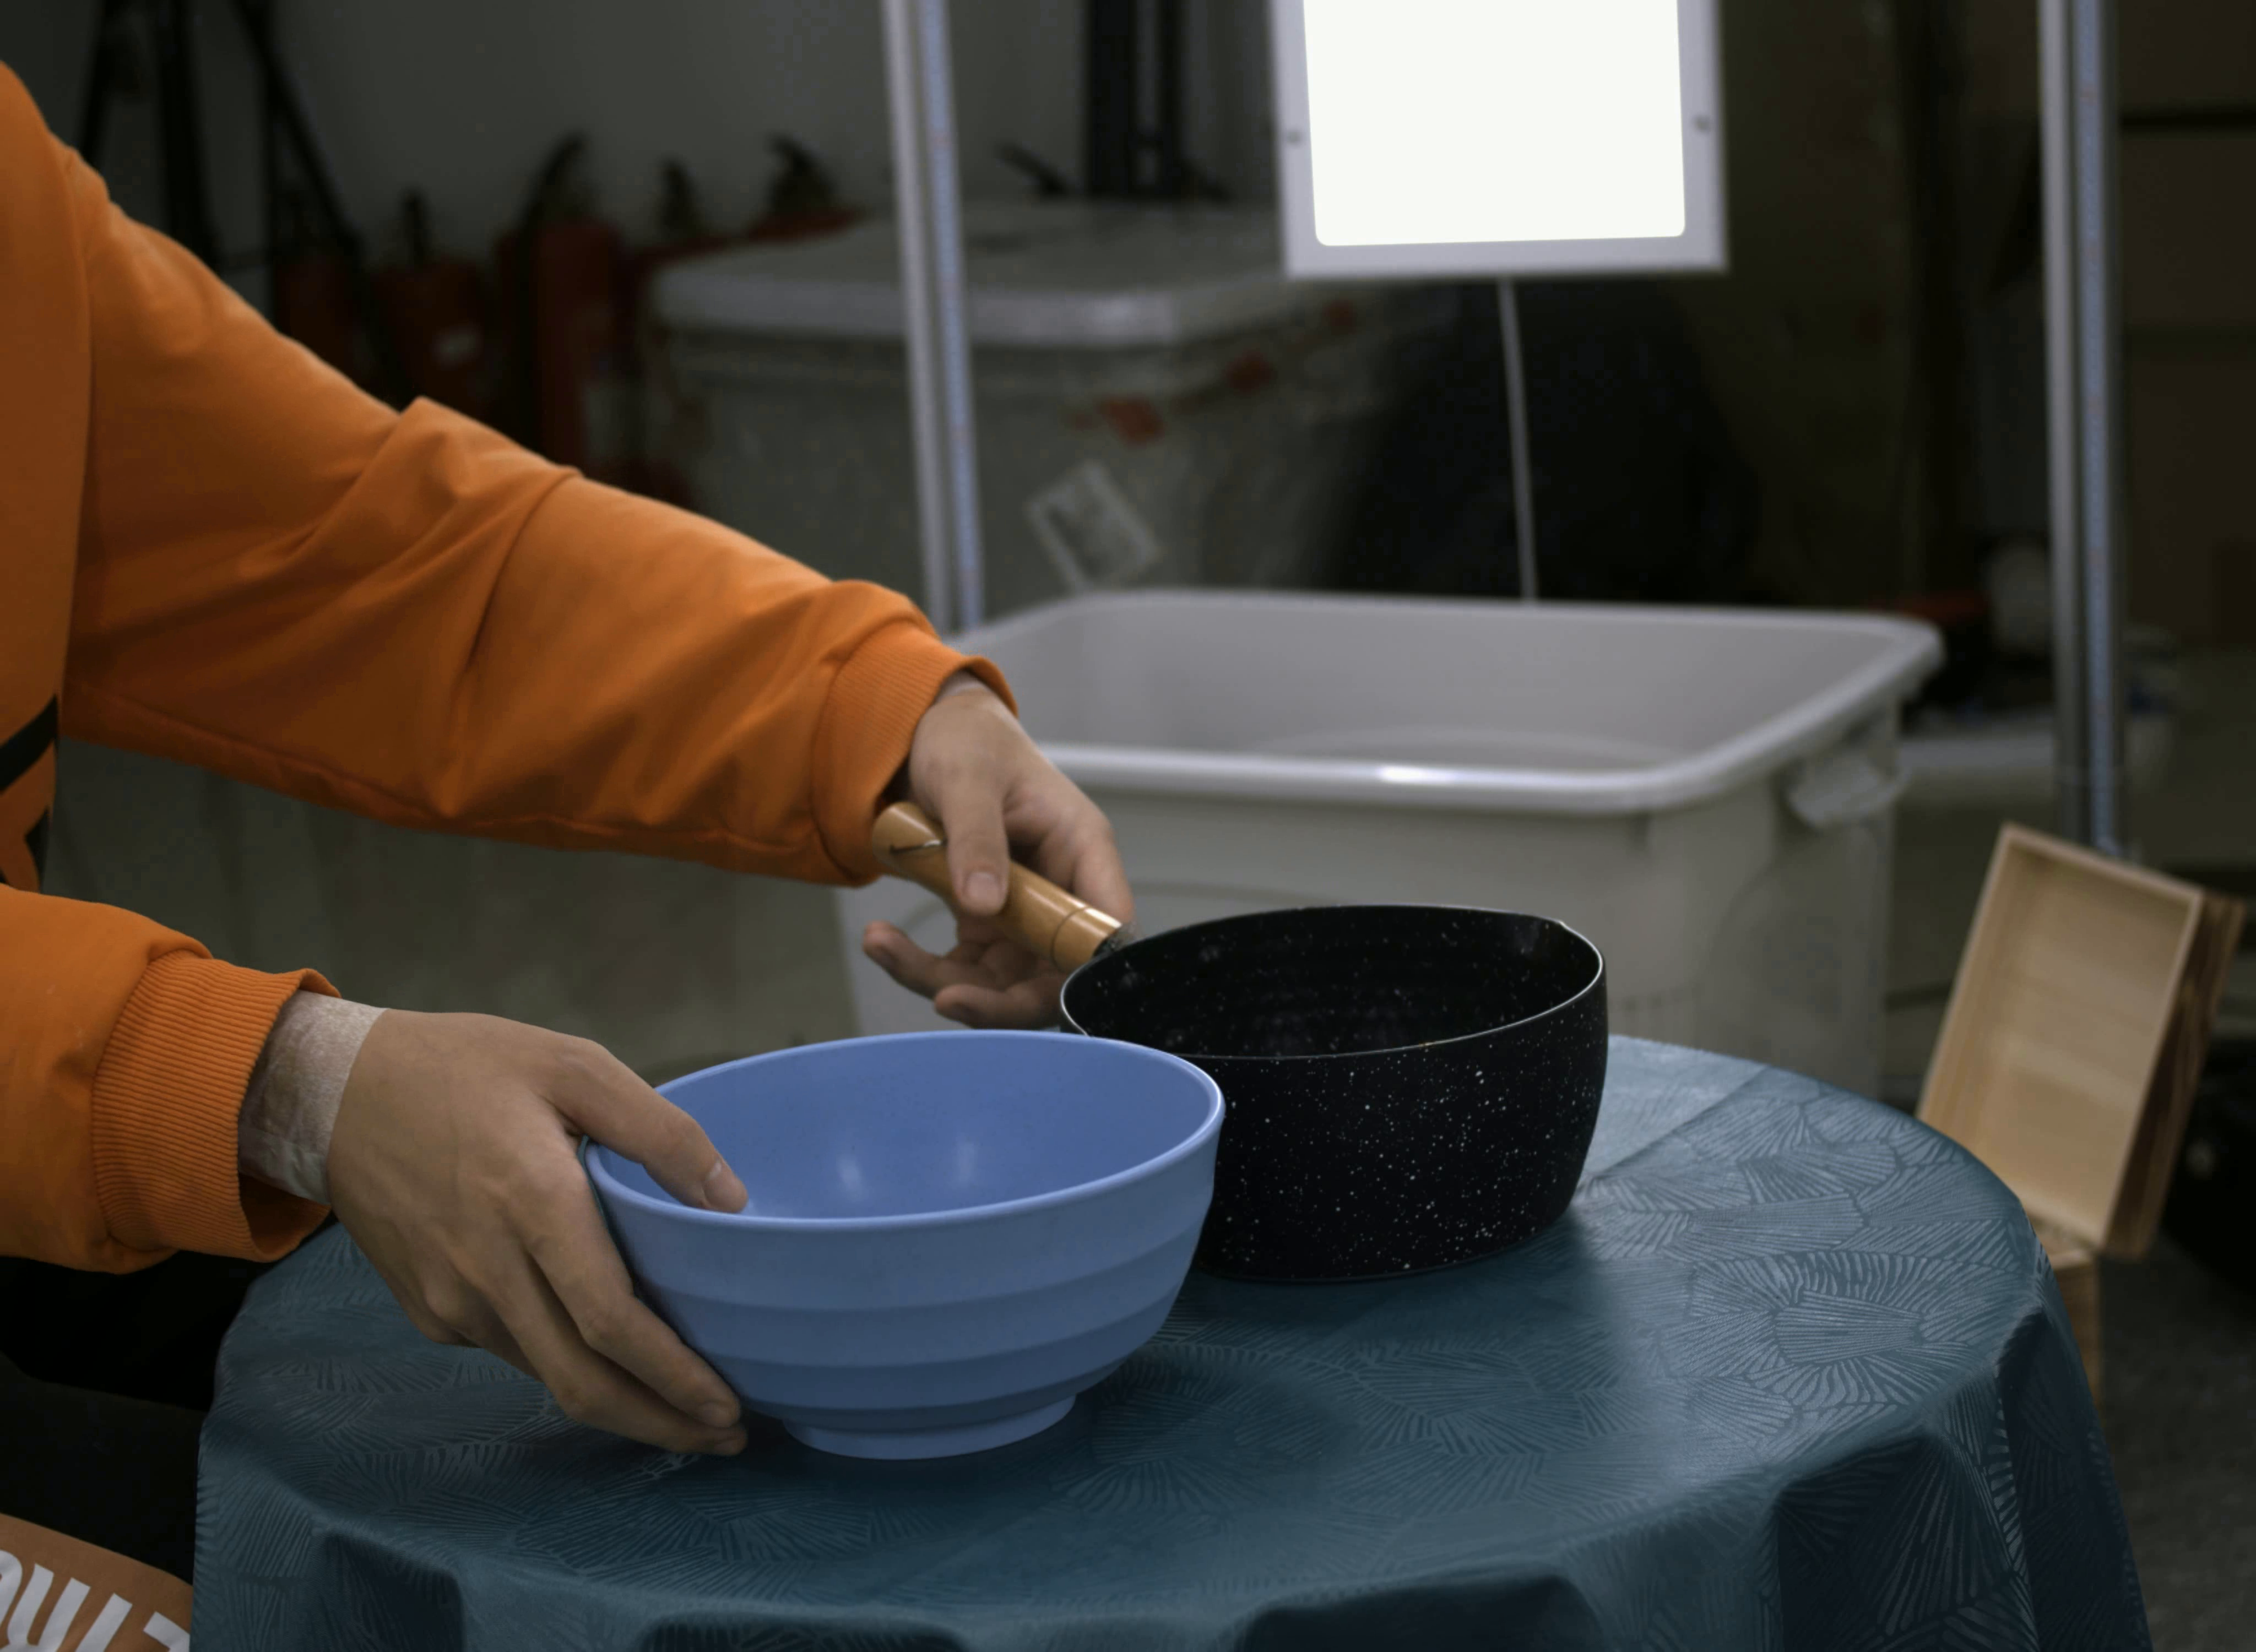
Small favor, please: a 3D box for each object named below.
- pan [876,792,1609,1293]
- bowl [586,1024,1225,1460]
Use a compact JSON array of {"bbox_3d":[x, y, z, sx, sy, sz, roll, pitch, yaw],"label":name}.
[{"bbox_3d":[0.020,0.068,1.903,0.202,0.108,0.350,-17,19,-35],"label":"pan"},{"bbox_3d":[-0.065,0.134,1.691,0.196,0.096,0.196,-5,15,0],"label":"bowl"}]
